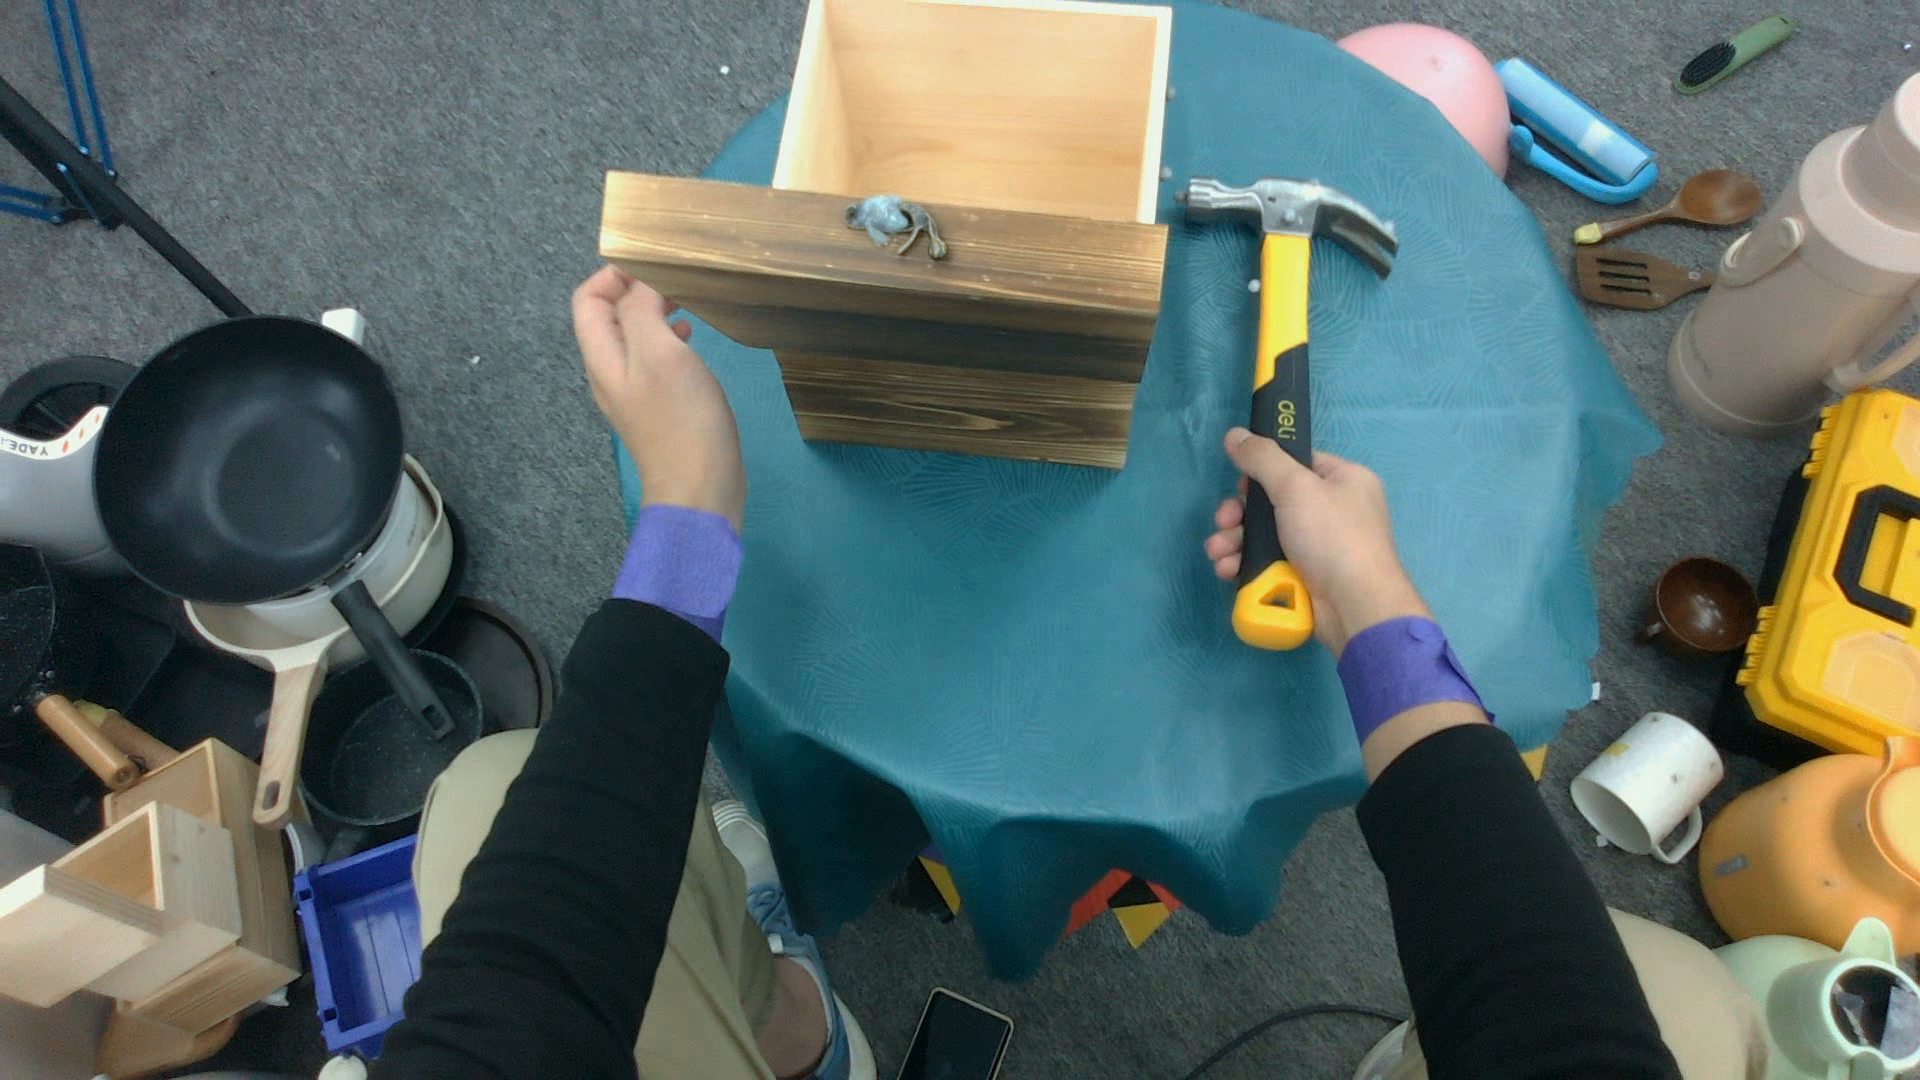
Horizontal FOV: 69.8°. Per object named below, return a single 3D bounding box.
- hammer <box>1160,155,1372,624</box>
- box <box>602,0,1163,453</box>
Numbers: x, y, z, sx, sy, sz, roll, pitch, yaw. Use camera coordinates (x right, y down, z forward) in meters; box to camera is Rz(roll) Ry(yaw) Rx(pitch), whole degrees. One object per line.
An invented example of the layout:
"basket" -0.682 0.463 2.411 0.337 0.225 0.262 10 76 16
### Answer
"hammer" 0.175 -0.101 0.807 0.131 0.032 0.340 8 56 3
"box" -0.012 -0.177 0.700 0.208 0.374 0.323 5 67 4
